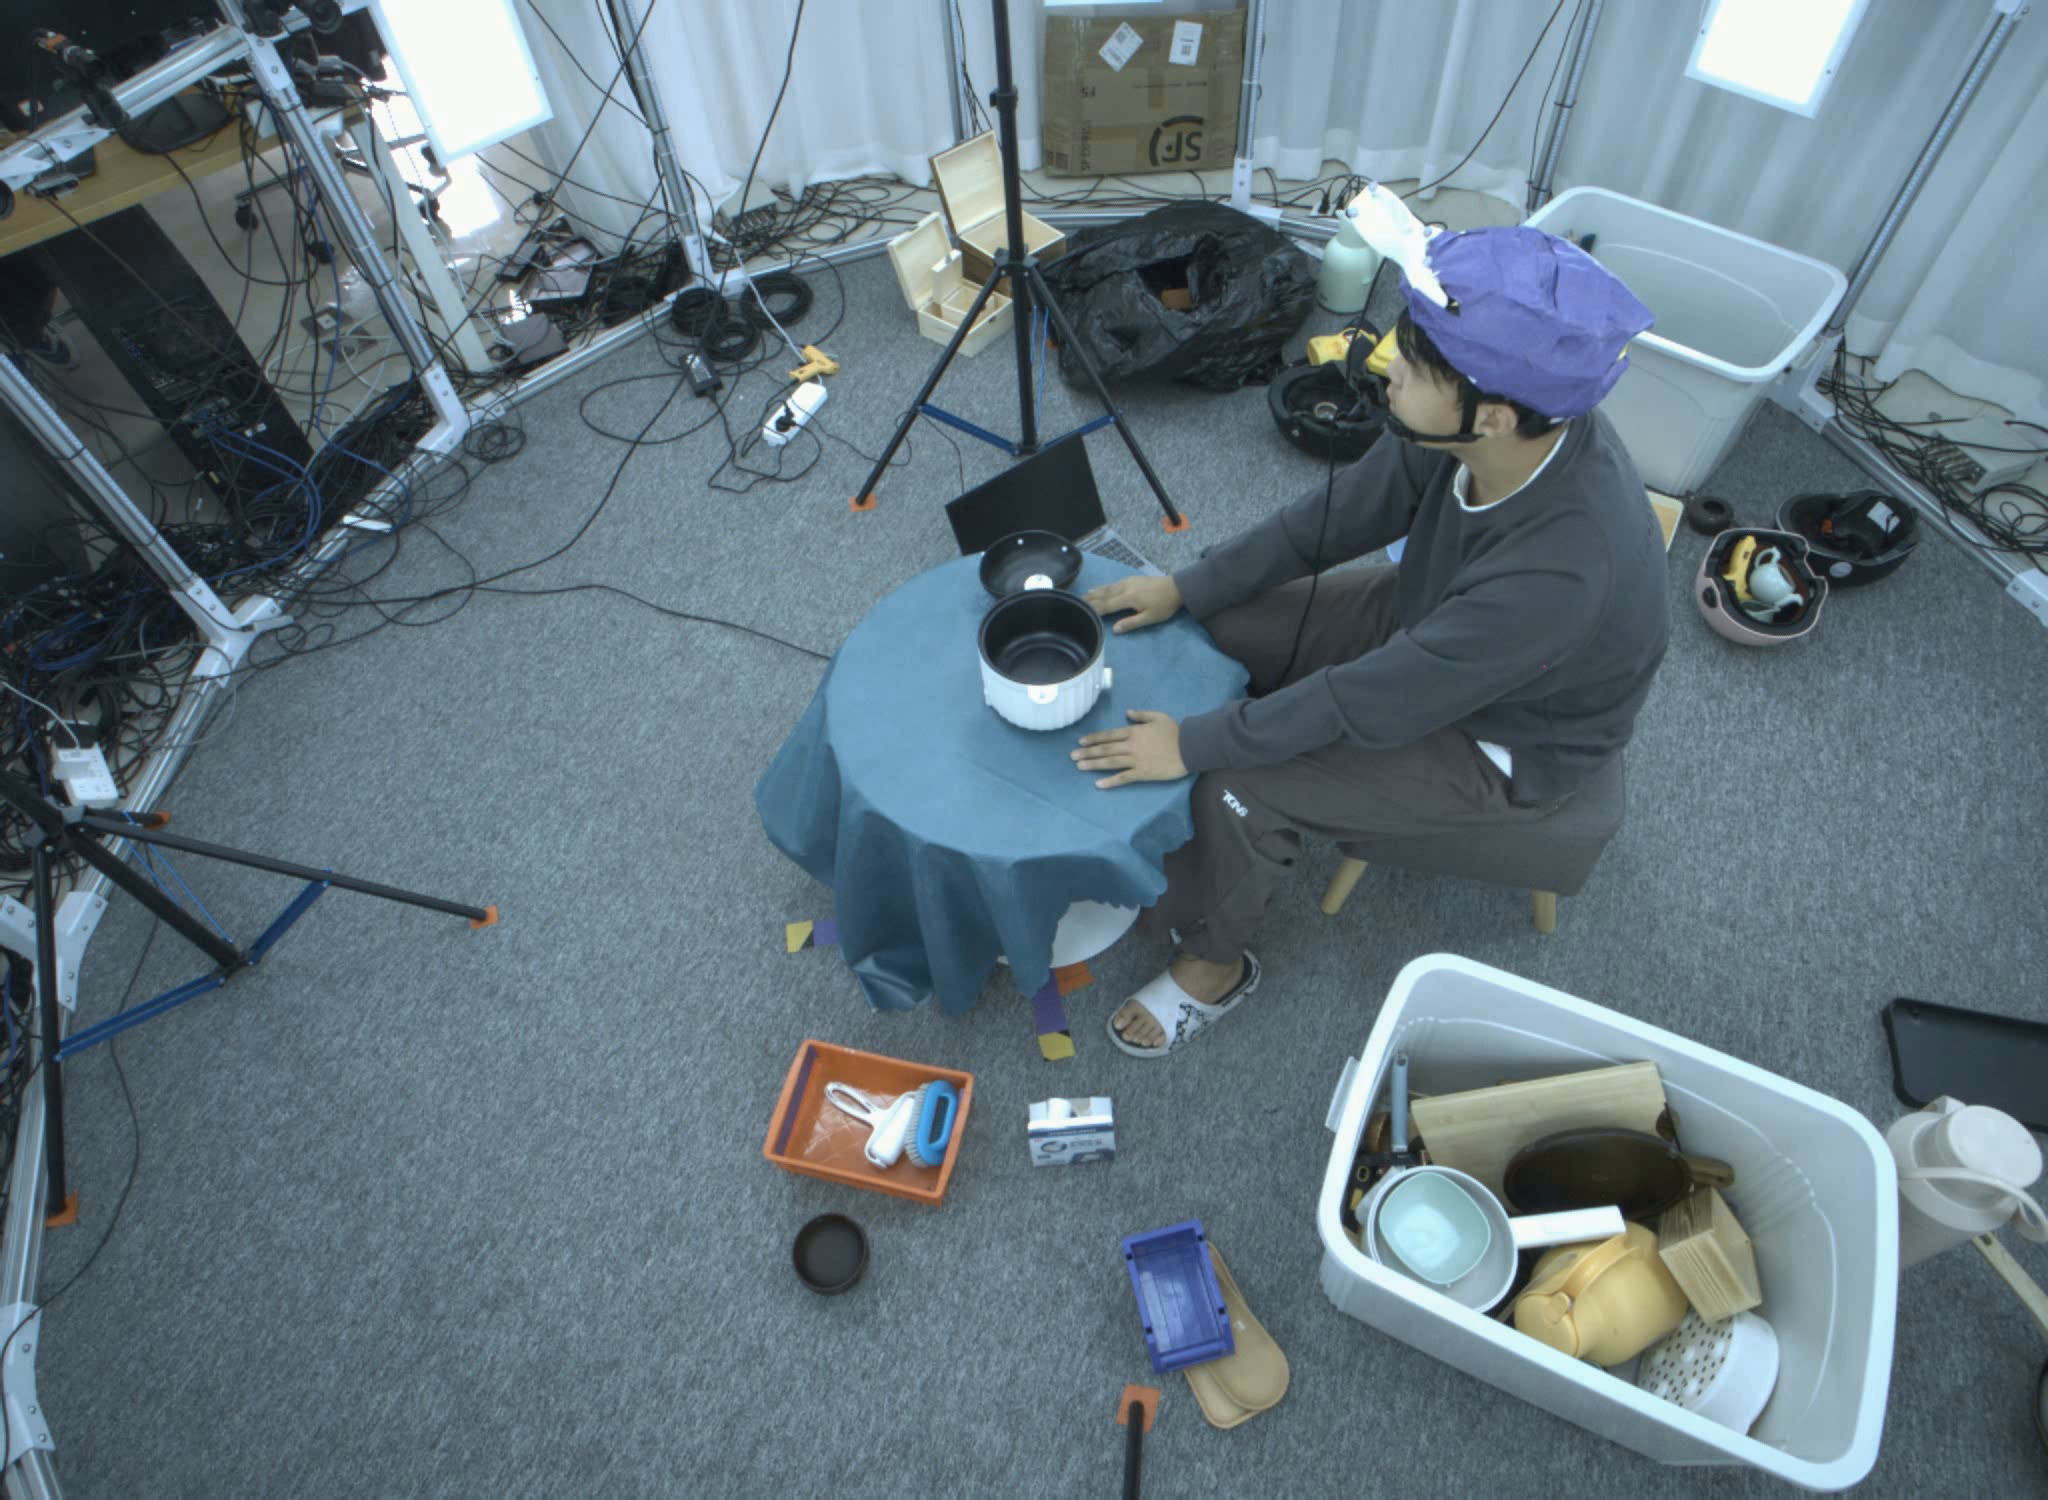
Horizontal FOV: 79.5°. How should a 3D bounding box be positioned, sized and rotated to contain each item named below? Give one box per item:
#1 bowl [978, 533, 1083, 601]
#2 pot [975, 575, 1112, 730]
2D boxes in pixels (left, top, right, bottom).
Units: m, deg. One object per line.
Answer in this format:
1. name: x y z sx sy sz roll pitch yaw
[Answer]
1. bowl: 0.010 -0.277 1.944 0.172 0.067 0.135 -21 57 -15
2. pot: 0.031 -0.127 1.792 0.190 0.144 0.237 -5 56 2
